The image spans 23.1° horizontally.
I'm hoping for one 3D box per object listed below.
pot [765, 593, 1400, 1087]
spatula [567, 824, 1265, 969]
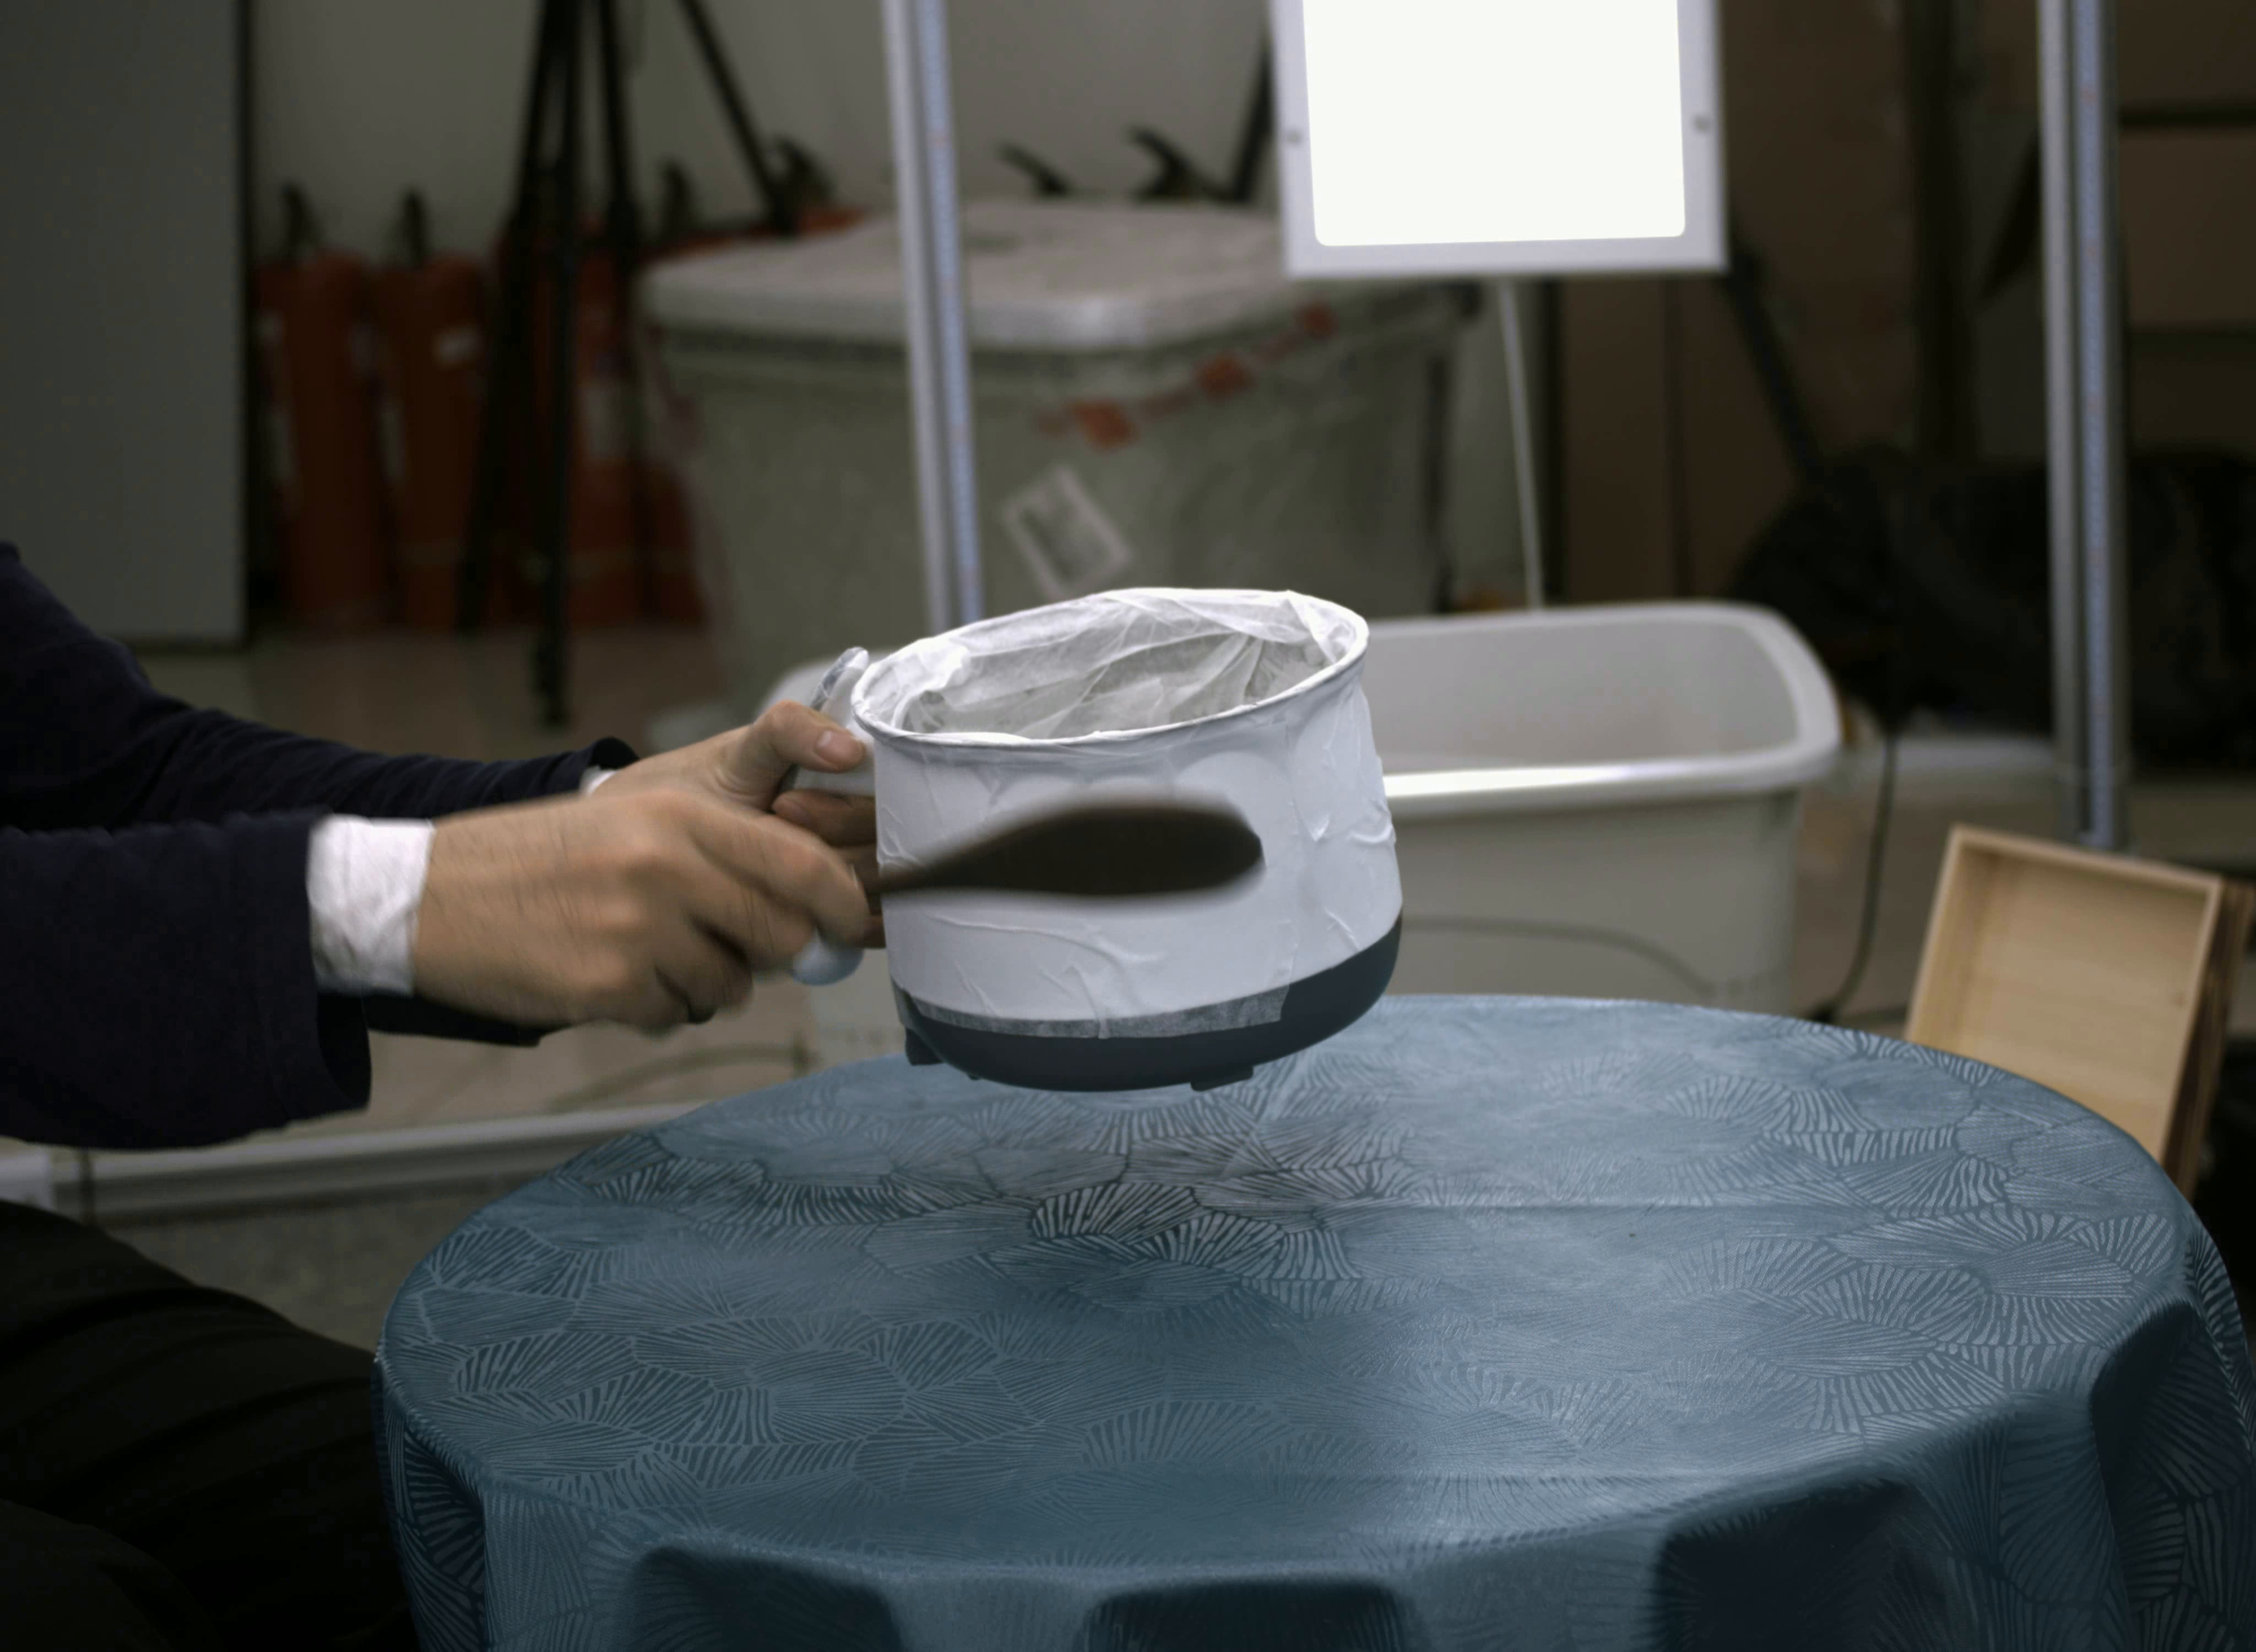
[{"bbox_3d":[-0.023,0.004,1.882,0.238,0.137,0.175,2,17,27],"label":"pot"},{"bbox_3d":[-0.065,0.027,1.677,0.216,0.009,0.071,-7,-29,8],"label":"spatula"}]
